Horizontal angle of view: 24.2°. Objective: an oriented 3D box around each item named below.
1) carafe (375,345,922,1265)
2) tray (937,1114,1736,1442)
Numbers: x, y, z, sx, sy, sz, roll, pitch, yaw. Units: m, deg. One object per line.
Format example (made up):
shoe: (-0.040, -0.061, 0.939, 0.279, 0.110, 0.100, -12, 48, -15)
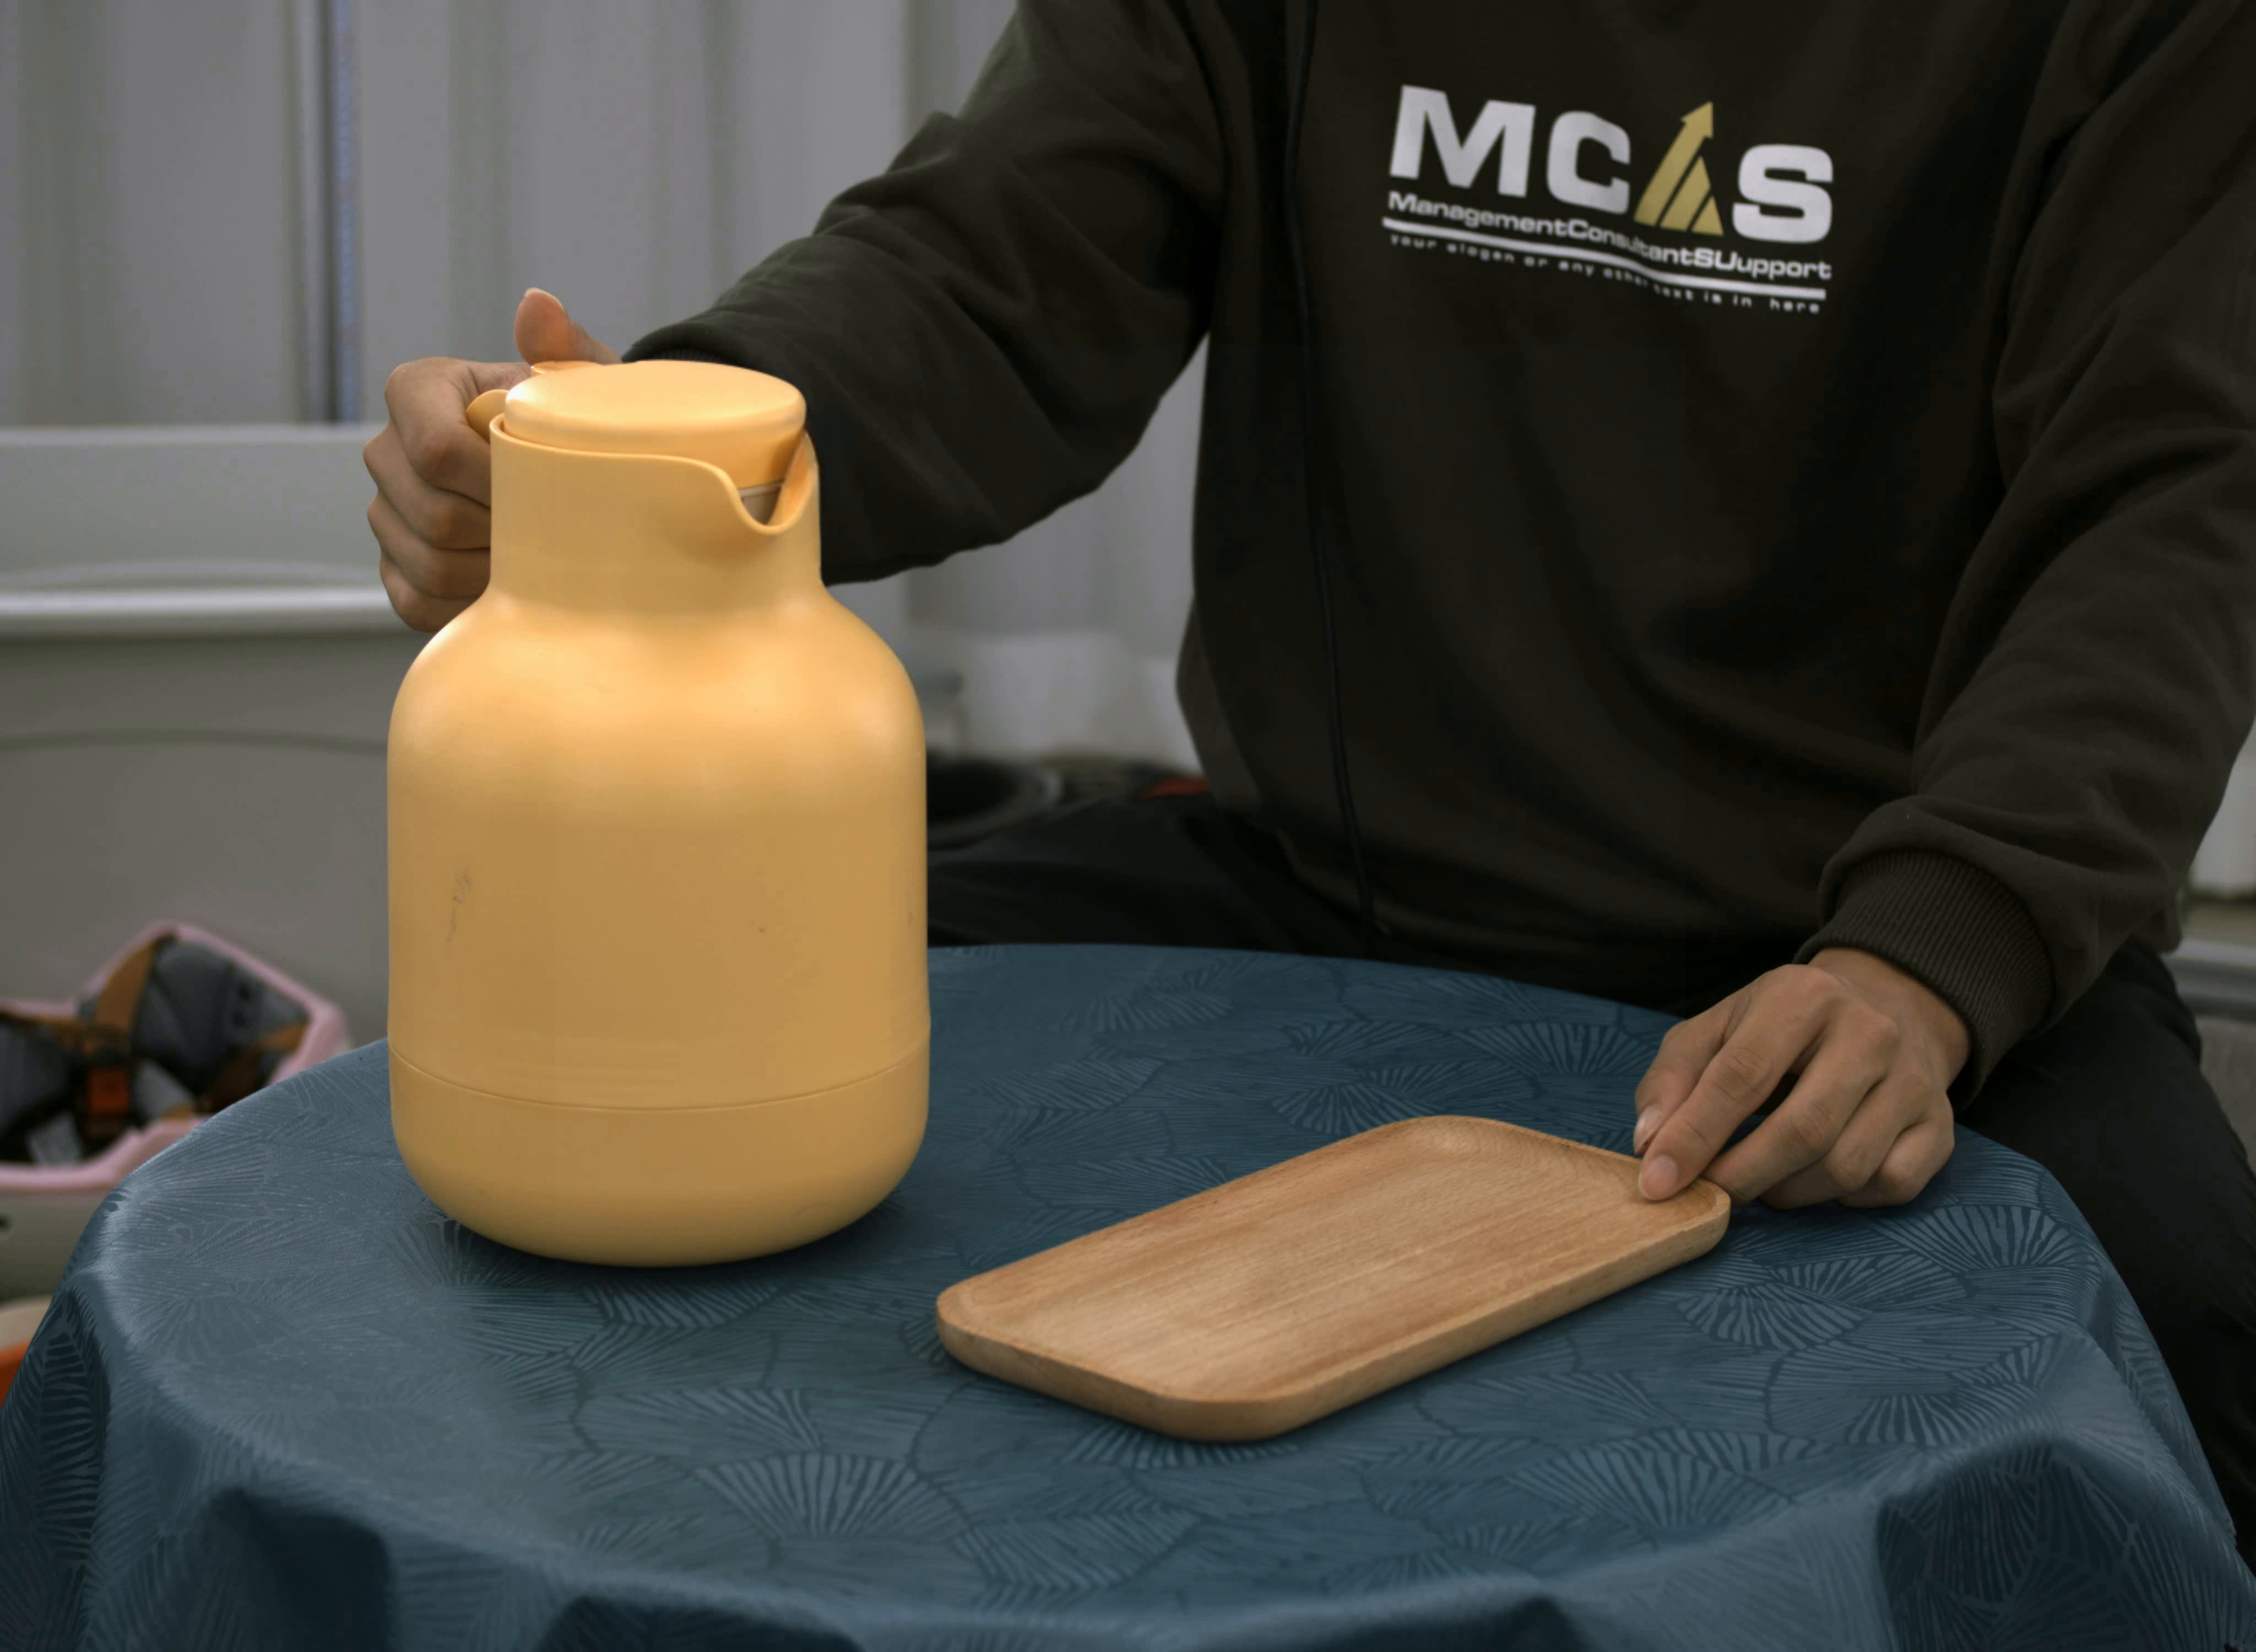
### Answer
carafe: (-0.150, -0.014, 1.586, 0.164, 0.262, 0.200, -5, 18, -30)
tray: (0.064, 0.130, 1.542, 0.129, 0.023, 0.252, 17, 21, 39)
